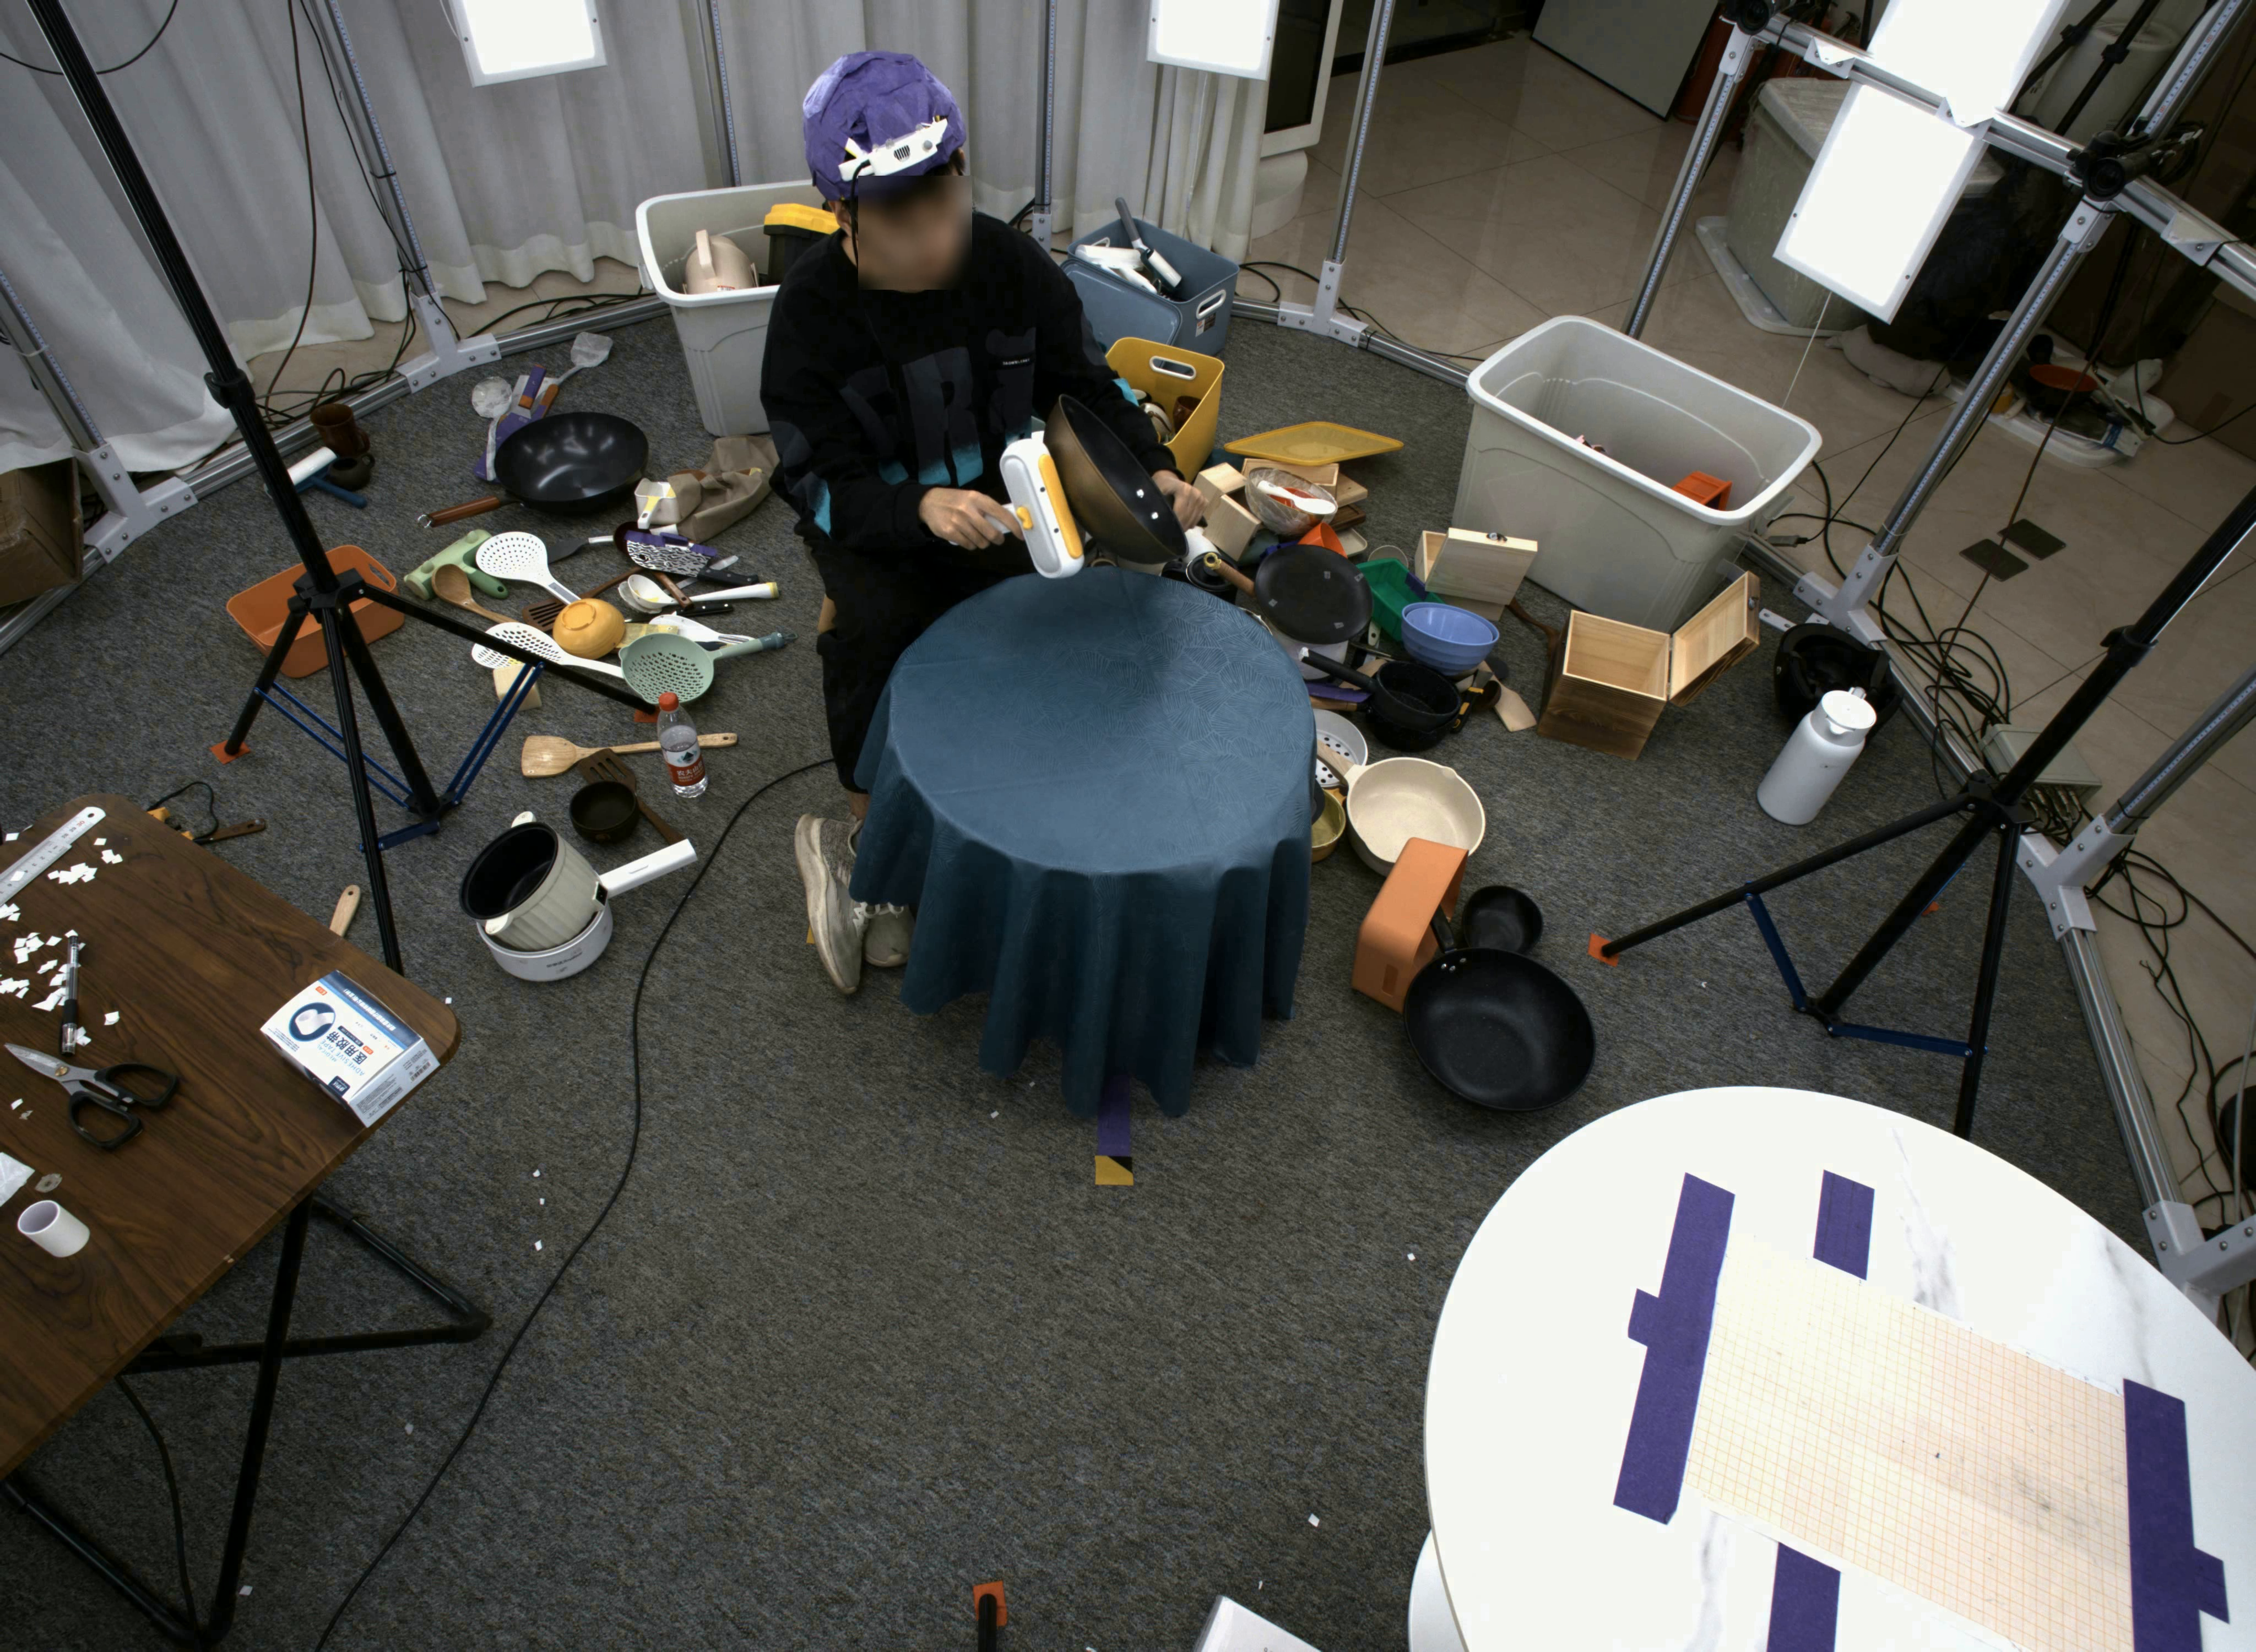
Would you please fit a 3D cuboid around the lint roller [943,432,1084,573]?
[{"bbox_3d":[-0.168,-0.426,1.774,0.192,0.189,0.075,-6,30,38],"label":"lint roller"}]

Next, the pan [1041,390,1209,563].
[{"bbox_3d":[0.005,-0.475,1.903,0.291,0.086,0.461,58,20,13],"label":"pan"}]
